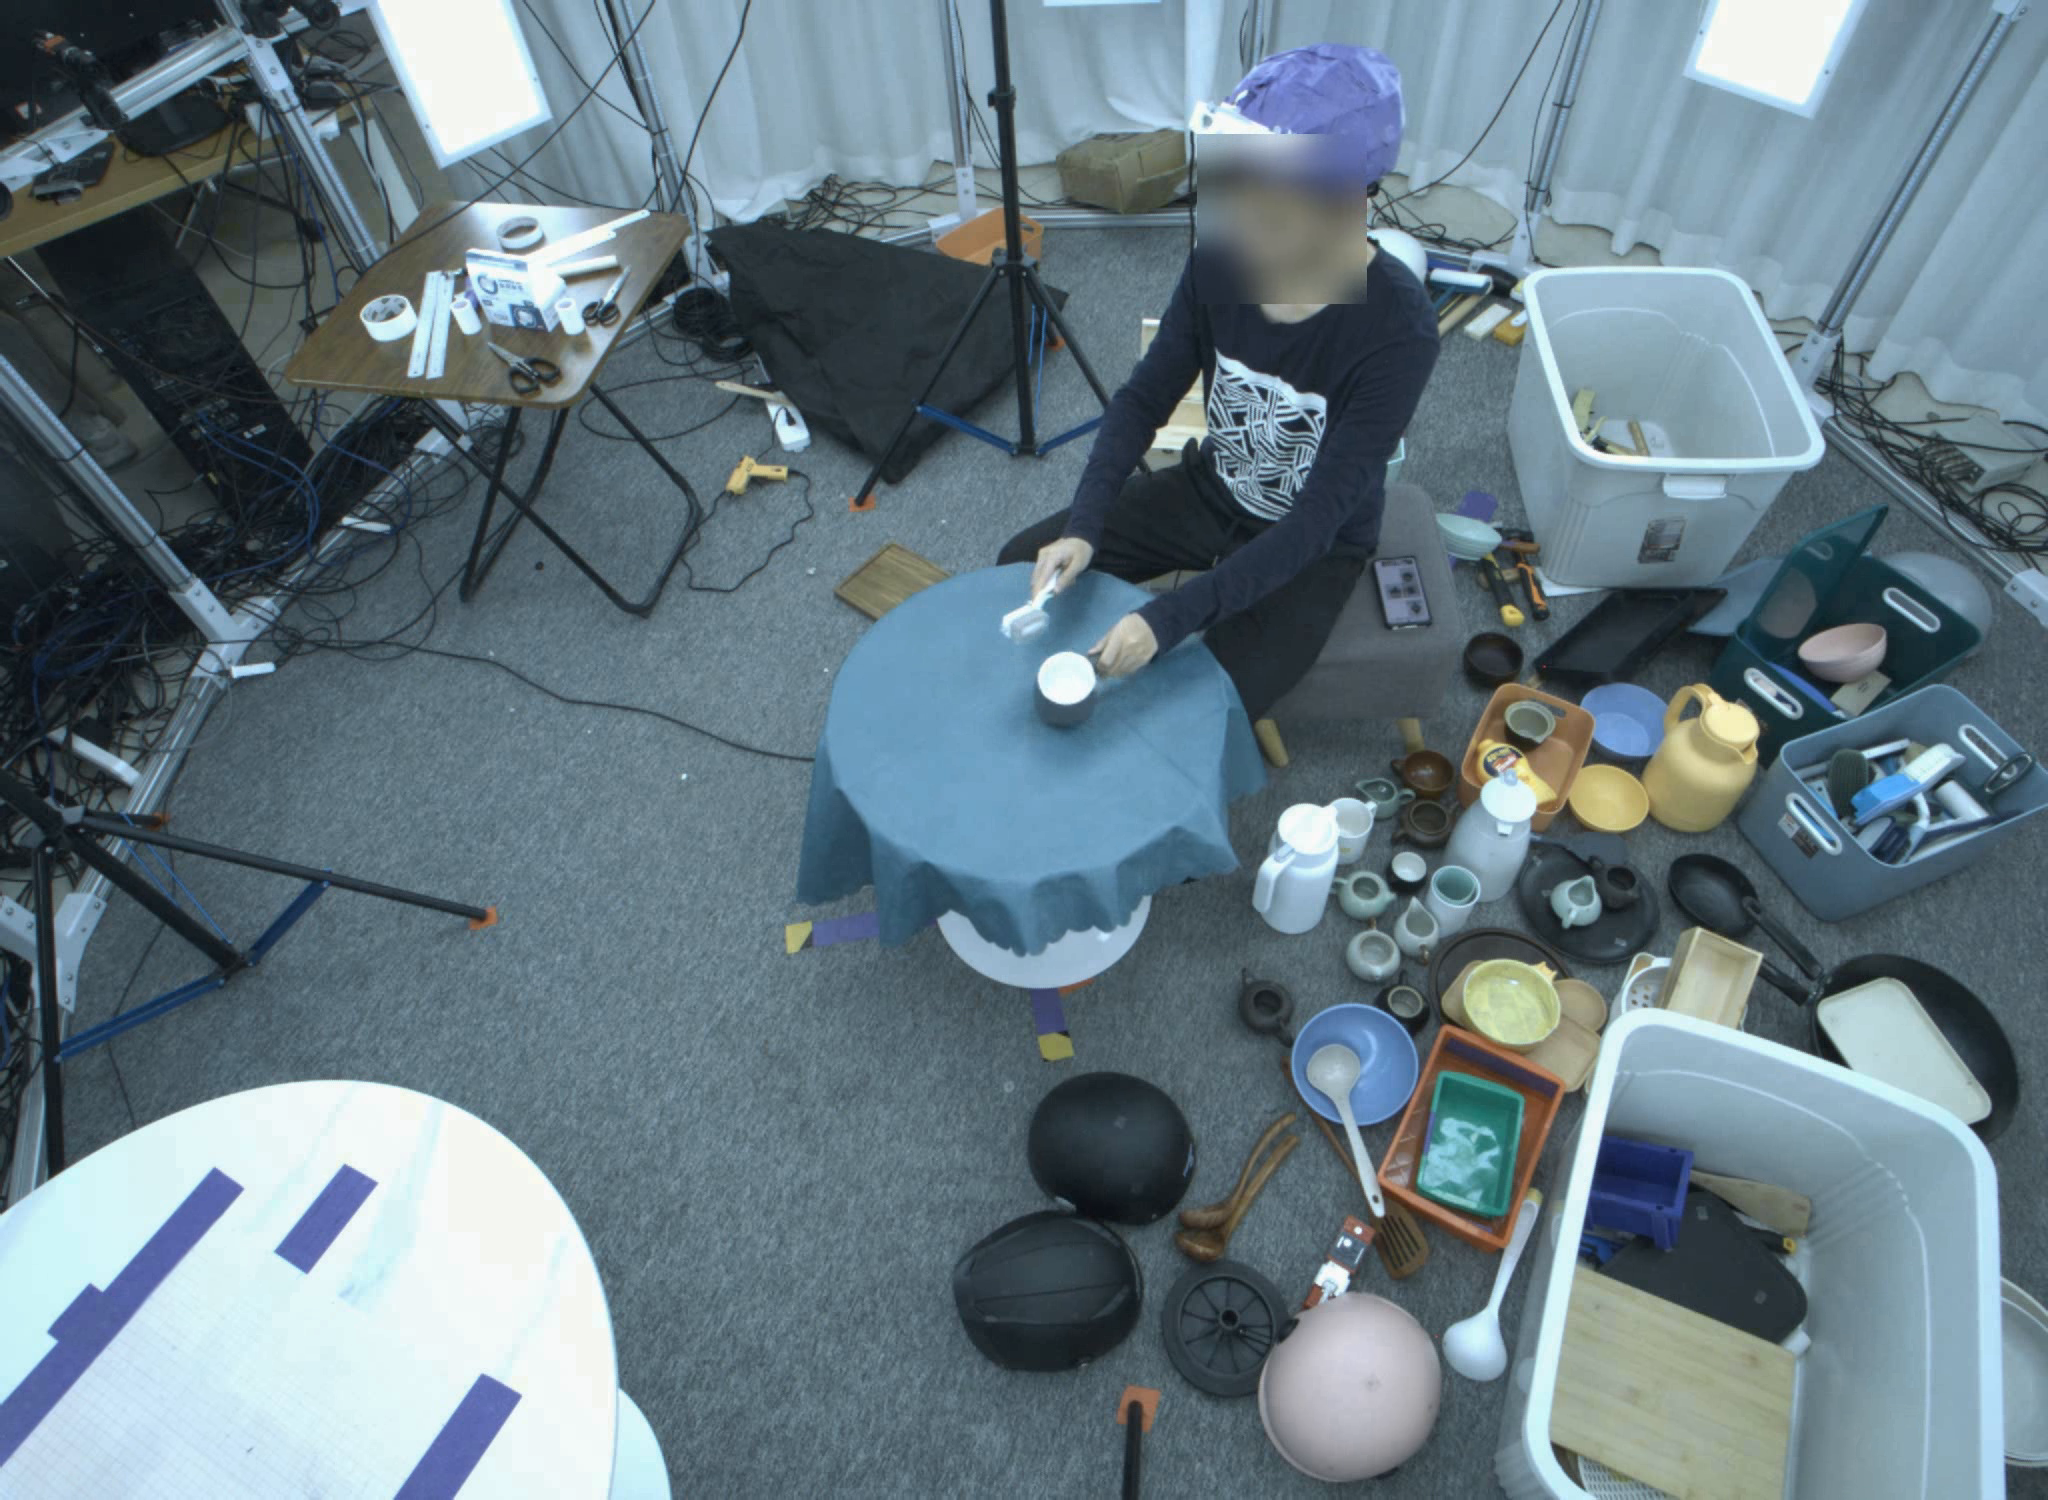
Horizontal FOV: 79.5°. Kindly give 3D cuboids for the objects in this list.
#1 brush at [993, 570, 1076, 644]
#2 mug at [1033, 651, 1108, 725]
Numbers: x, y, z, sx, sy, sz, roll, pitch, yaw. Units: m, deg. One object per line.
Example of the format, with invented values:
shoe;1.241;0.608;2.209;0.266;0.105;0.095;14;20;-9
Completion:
brush;0.032;-0.217;1.828;0.049;0.035;0.246;14;33;27
mug;0.071;-0.099;1.776;0.124;0.090;0.093;-37;79;-10
